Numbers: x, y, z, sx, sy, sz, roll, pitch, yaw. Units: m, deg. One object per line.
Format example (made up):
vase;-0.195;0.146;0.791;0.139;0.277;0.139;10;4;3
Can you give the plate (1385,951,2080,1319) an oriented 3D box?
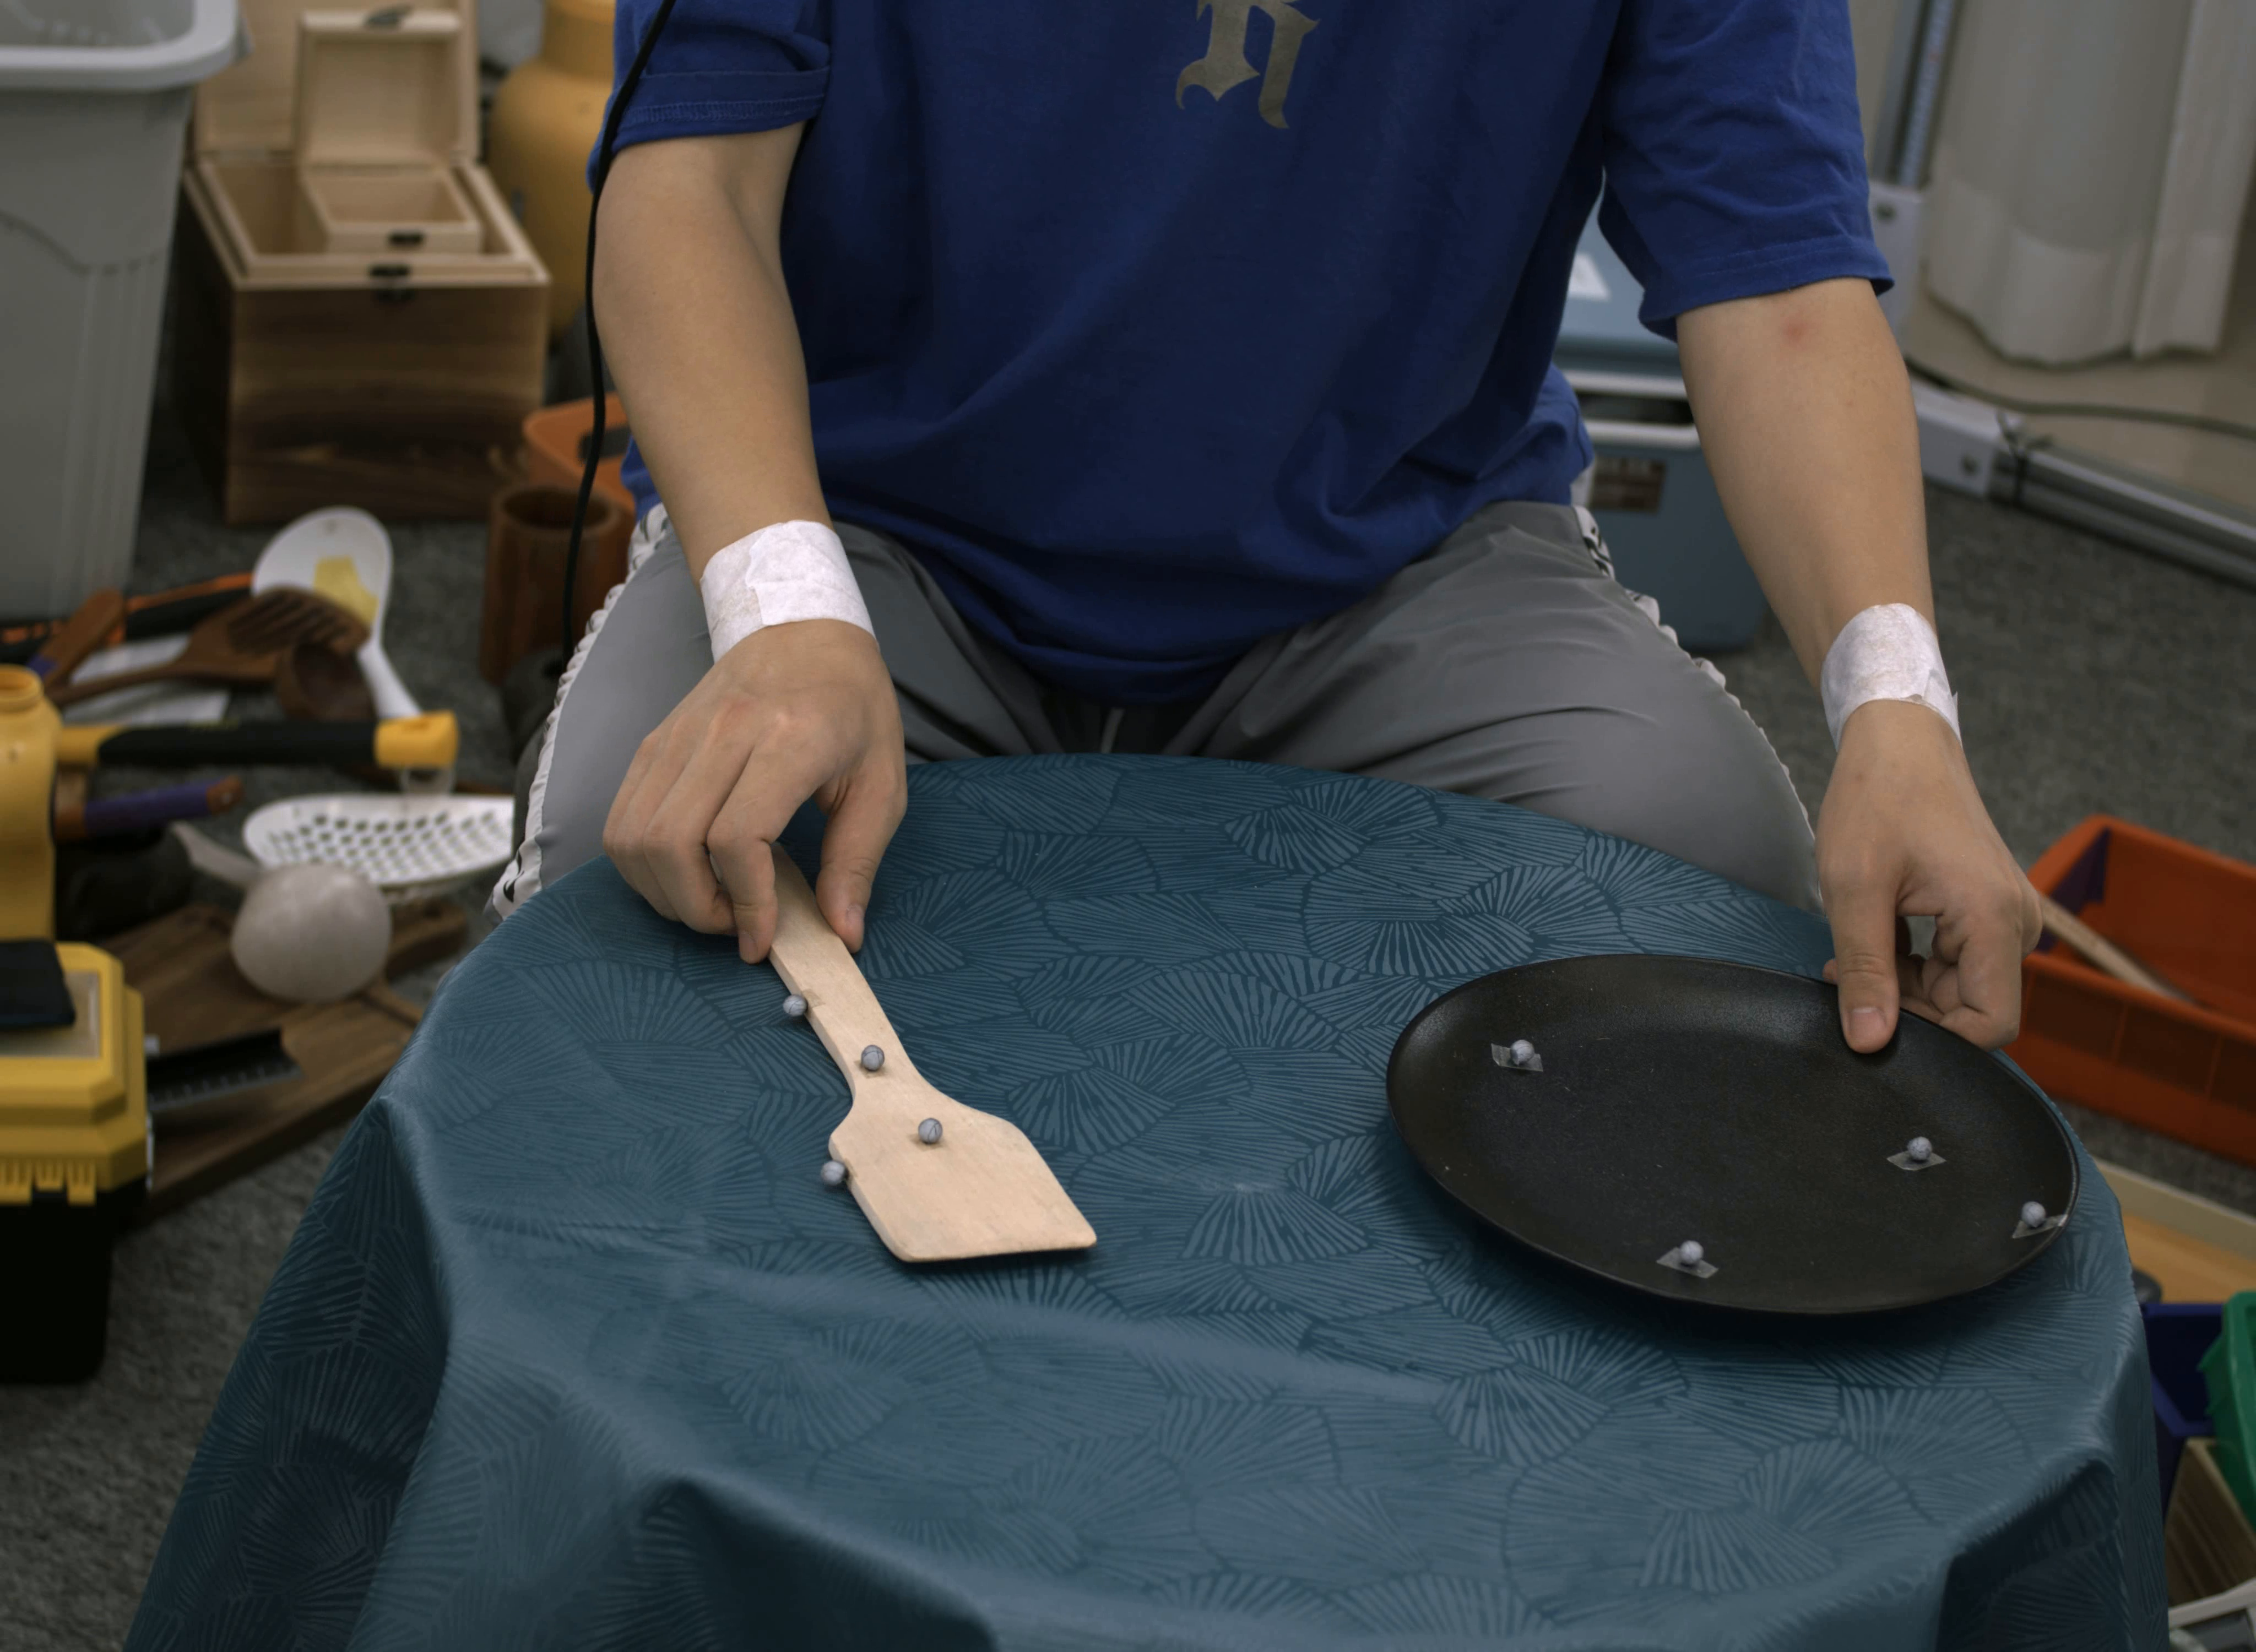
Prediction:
plate;0.208;0.111;1.849;0.243;0.023;0.246;5;27;-3

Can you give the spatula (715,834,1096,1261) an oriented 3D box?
spatula;-0.093;0.074;1.869;0.072;0.010;0.295;-4;29;-21
